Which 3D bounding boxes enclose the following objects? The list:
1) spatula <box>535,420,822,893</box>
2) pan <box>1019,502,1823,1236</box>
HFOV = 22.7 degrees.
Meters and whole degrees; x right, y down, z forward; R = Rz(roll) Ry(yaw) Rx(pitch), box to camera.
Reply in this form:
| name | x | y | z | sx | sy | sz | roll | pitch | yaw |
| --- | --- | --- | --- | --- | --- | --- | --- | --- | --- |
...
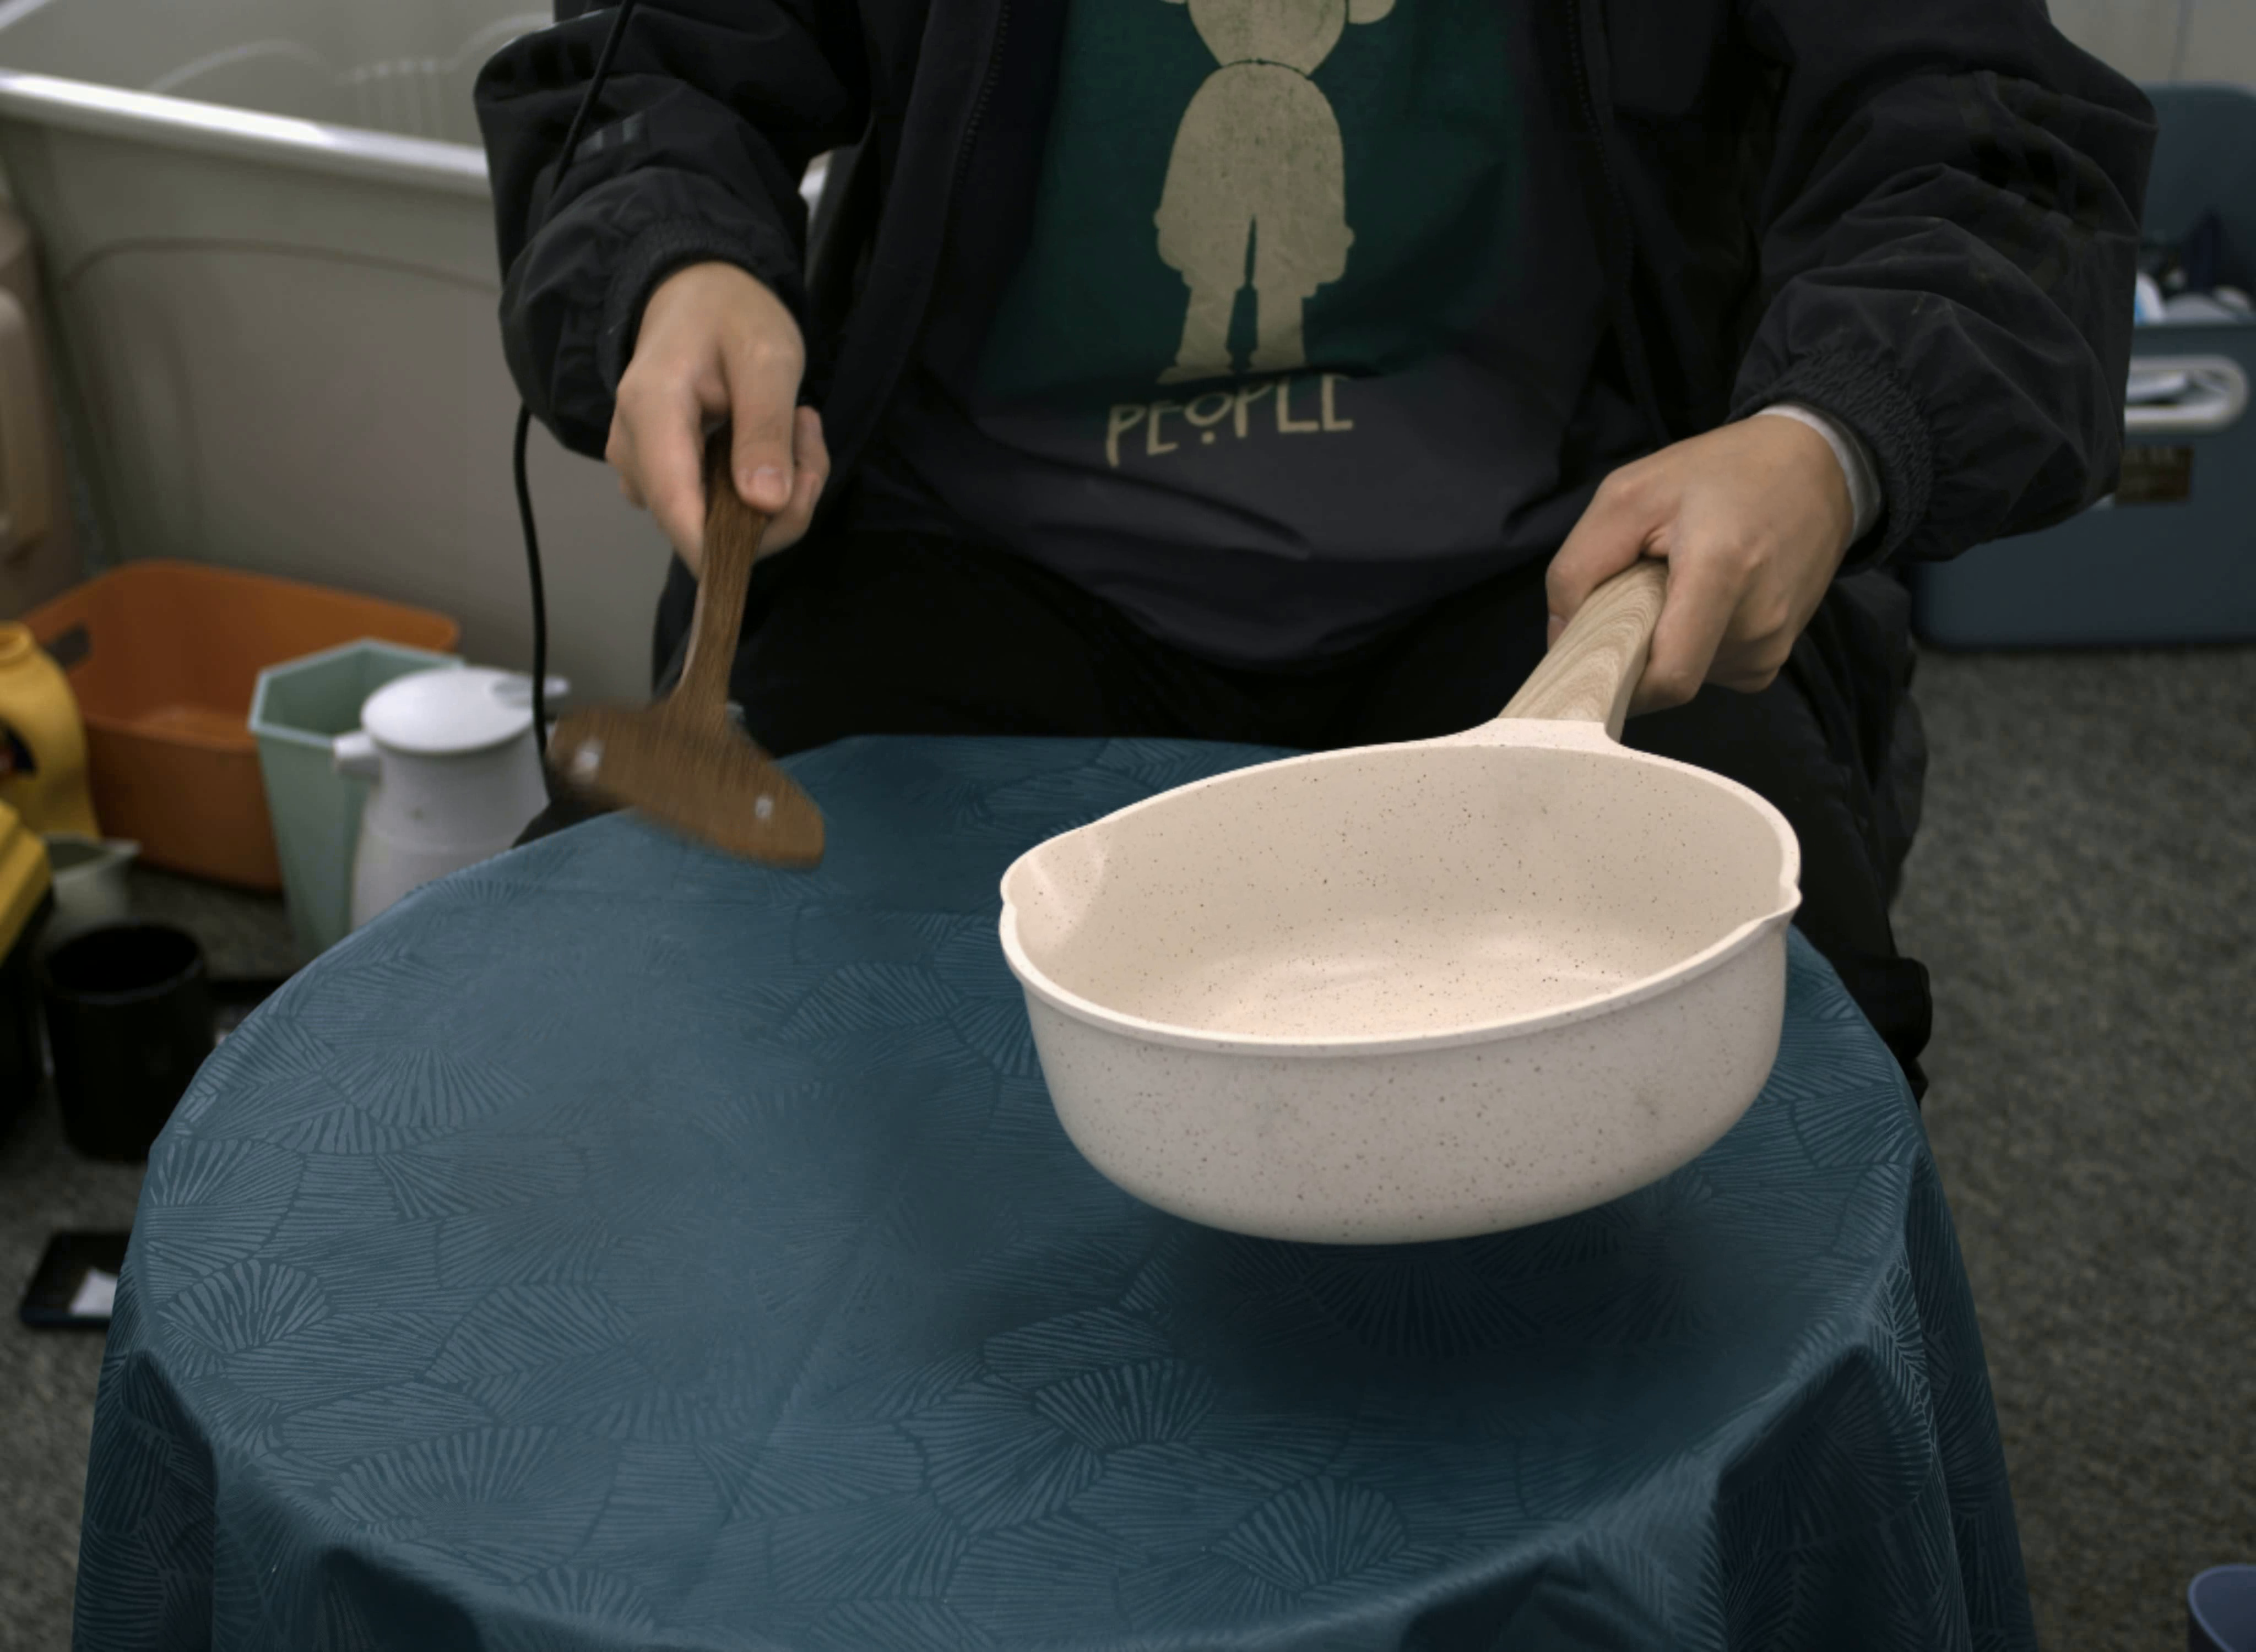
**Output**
| name | x | y | z | sx | sy | sz | roll | pitch | yaw |
| --- | --- | --- | --- | --- | --- | --- | --- | --- | --- |
| spatula | -0.141 | -0.068 | 1.926 | 0.096 | 0.015 | 0.391 | 19 | 23 | -8 |
| pan | 0.129 | 0.011 | 1.841 | 0.261 | 0.101 | 0.441 | 1 | 22 | 24 |
